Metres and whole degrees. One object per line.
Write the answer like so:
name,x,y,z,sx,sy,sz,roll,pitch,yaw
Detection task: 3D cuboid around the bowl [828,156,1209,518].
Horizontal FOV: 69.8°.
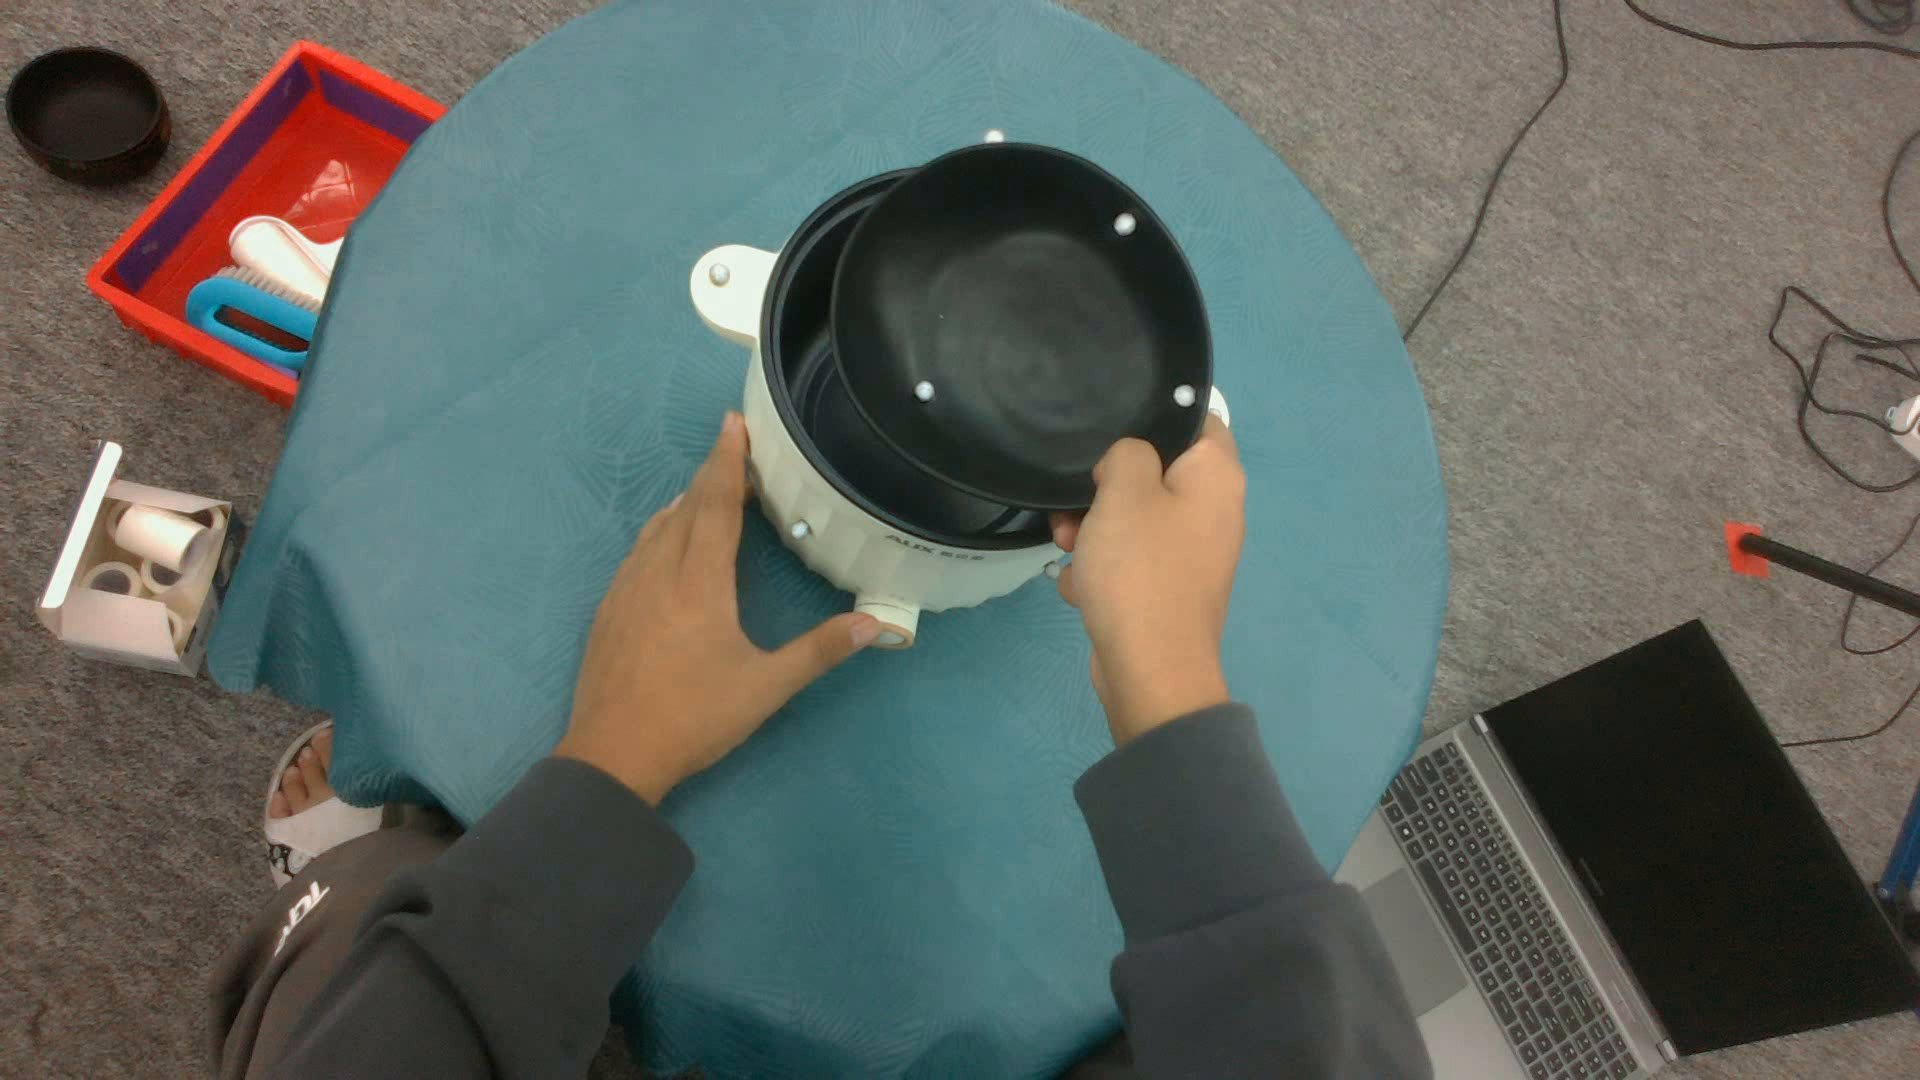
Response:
bowl,0.028,-0.079,0.577,0.170,0.066,0.137,38,89,15

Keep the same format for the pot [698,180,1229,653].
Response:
pot,-0.008,-0.053,0.657,0.240,0.142,0.191,10,64,-9
